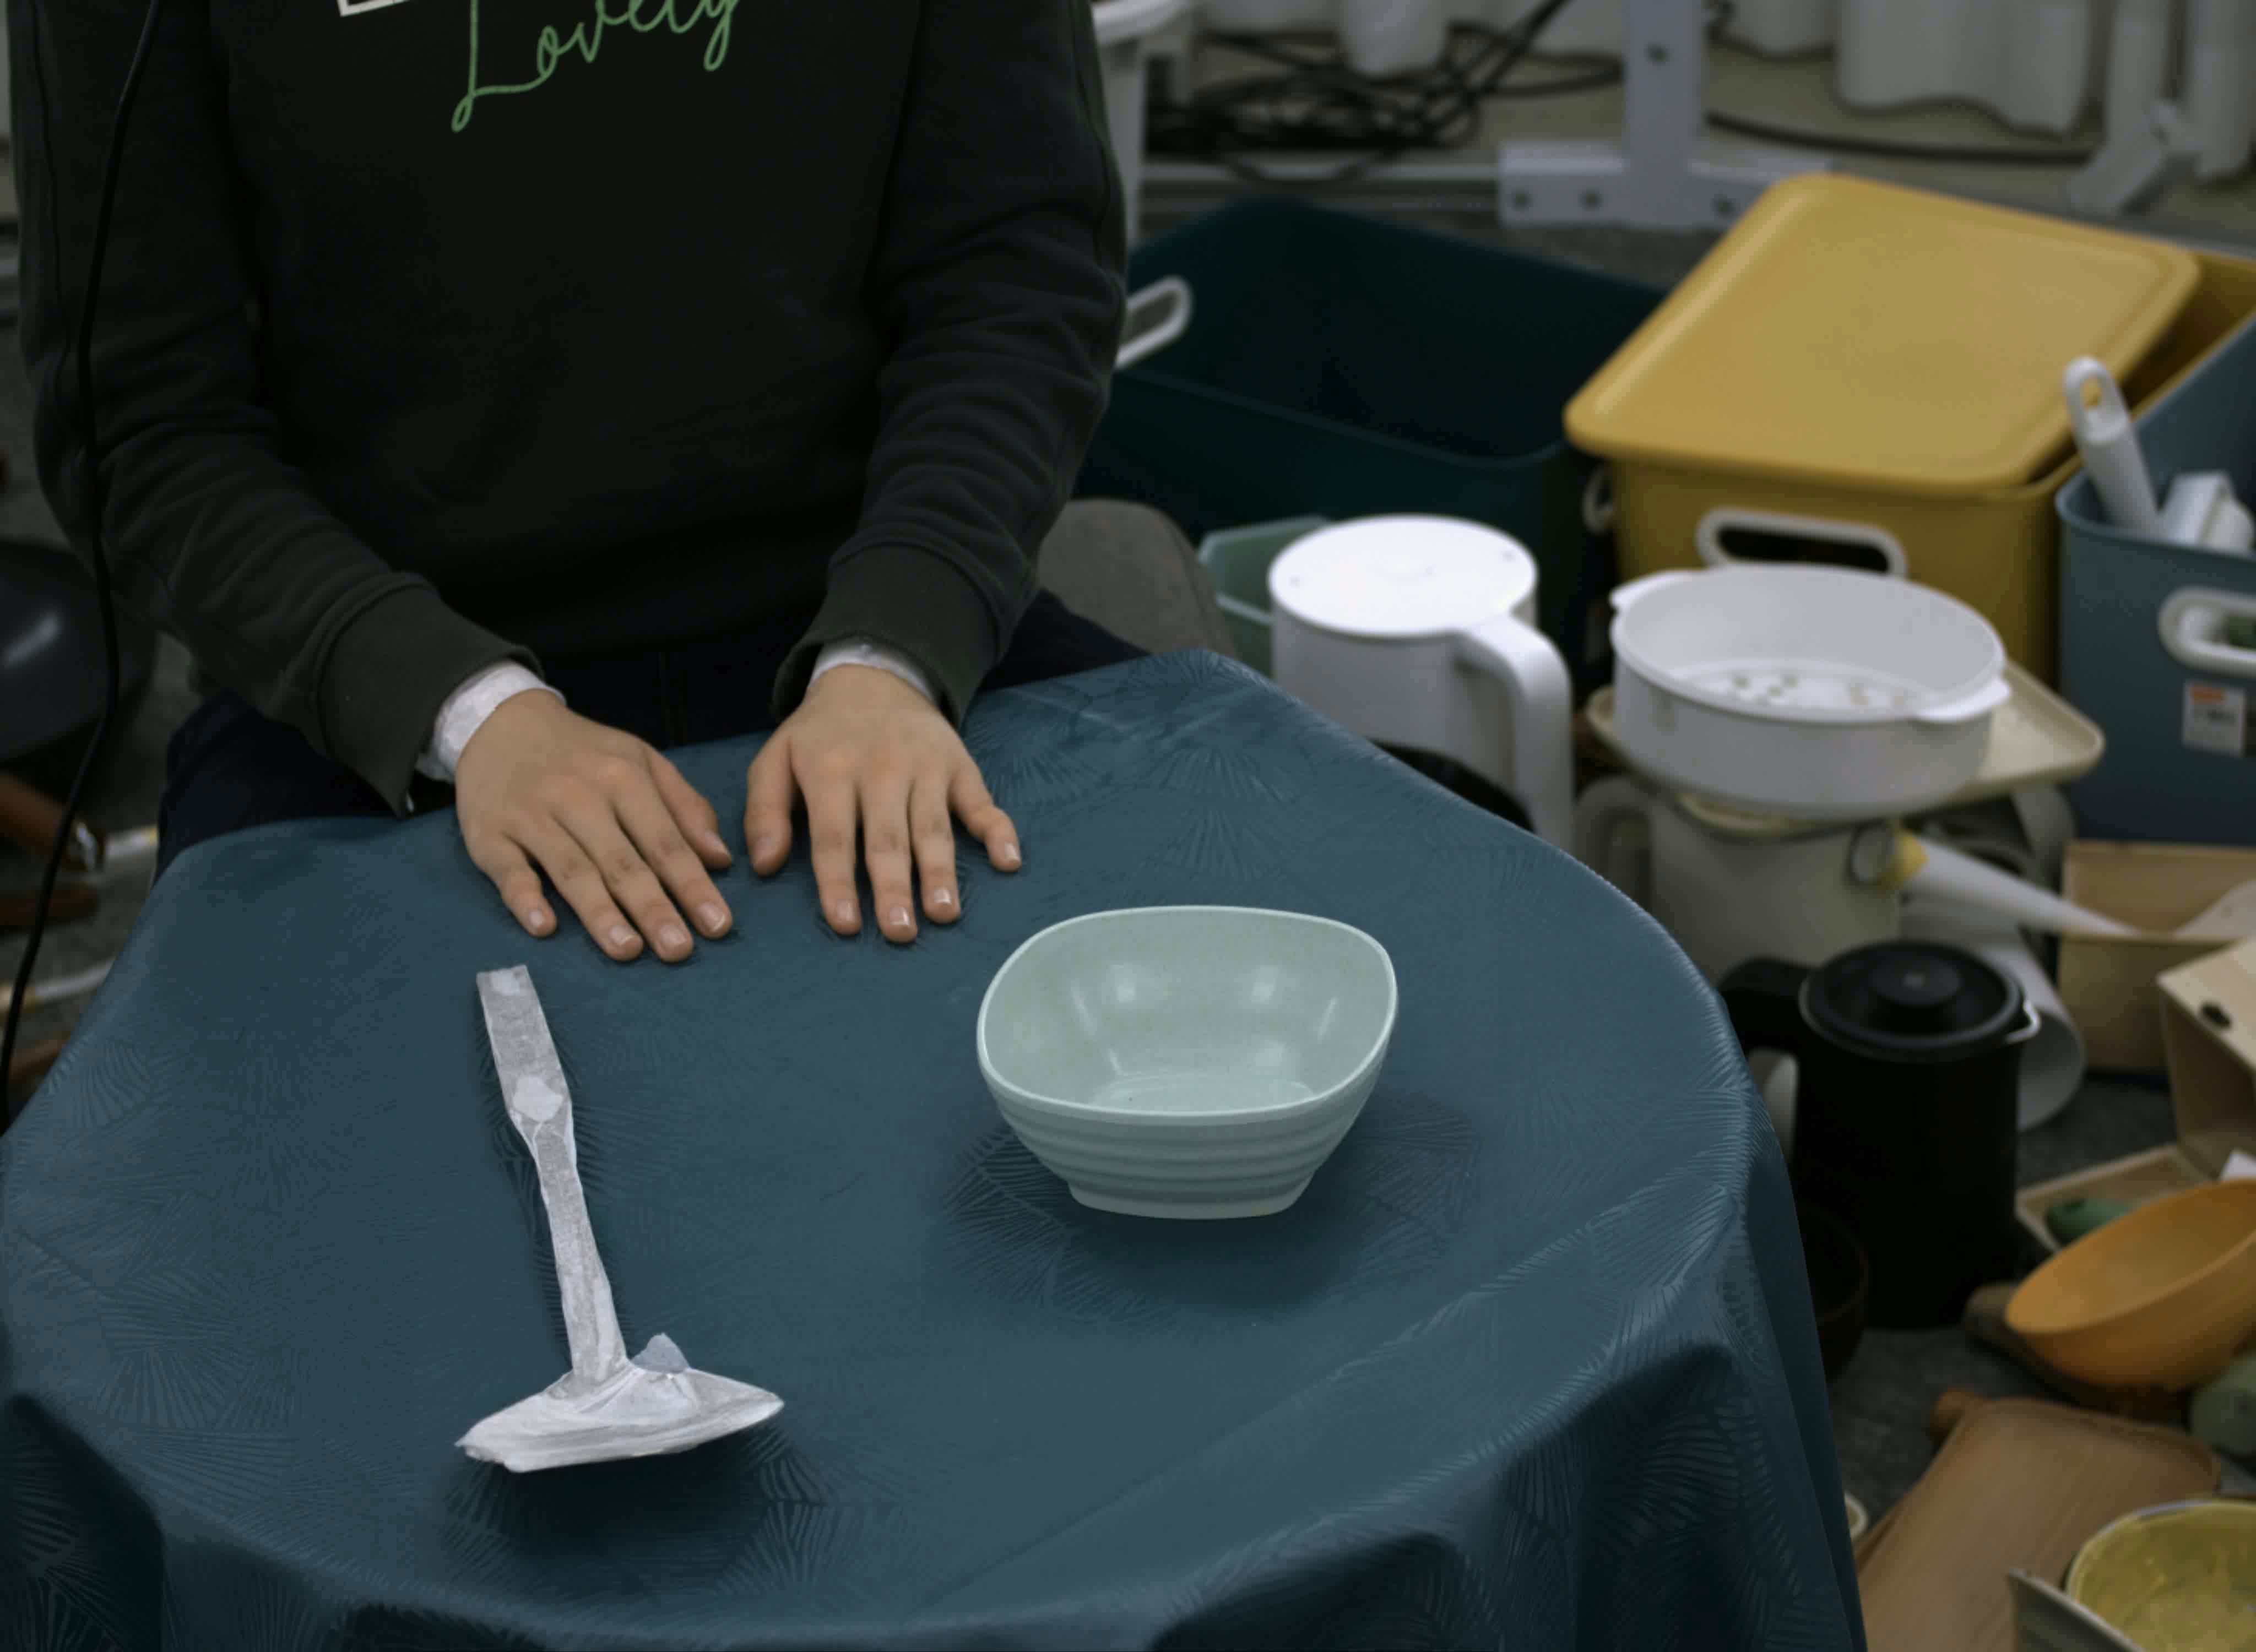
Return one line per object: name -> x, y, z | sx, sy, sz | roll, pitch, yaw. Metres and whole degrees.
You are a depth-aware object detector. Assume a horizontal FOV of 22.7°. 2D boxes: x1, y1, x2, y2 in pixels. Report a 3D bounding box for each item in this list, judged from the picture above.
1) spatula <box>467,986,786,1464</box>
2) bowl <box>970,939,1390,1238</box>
spatula -> -0.180, 0.122, 1.836 | 0.098, 0.044, 0.369 | -9, 28, -8
bowl -> 0.018, 0.092, 1.869 | 0.151, 0.058, 0.153 | -1, 23, 1
